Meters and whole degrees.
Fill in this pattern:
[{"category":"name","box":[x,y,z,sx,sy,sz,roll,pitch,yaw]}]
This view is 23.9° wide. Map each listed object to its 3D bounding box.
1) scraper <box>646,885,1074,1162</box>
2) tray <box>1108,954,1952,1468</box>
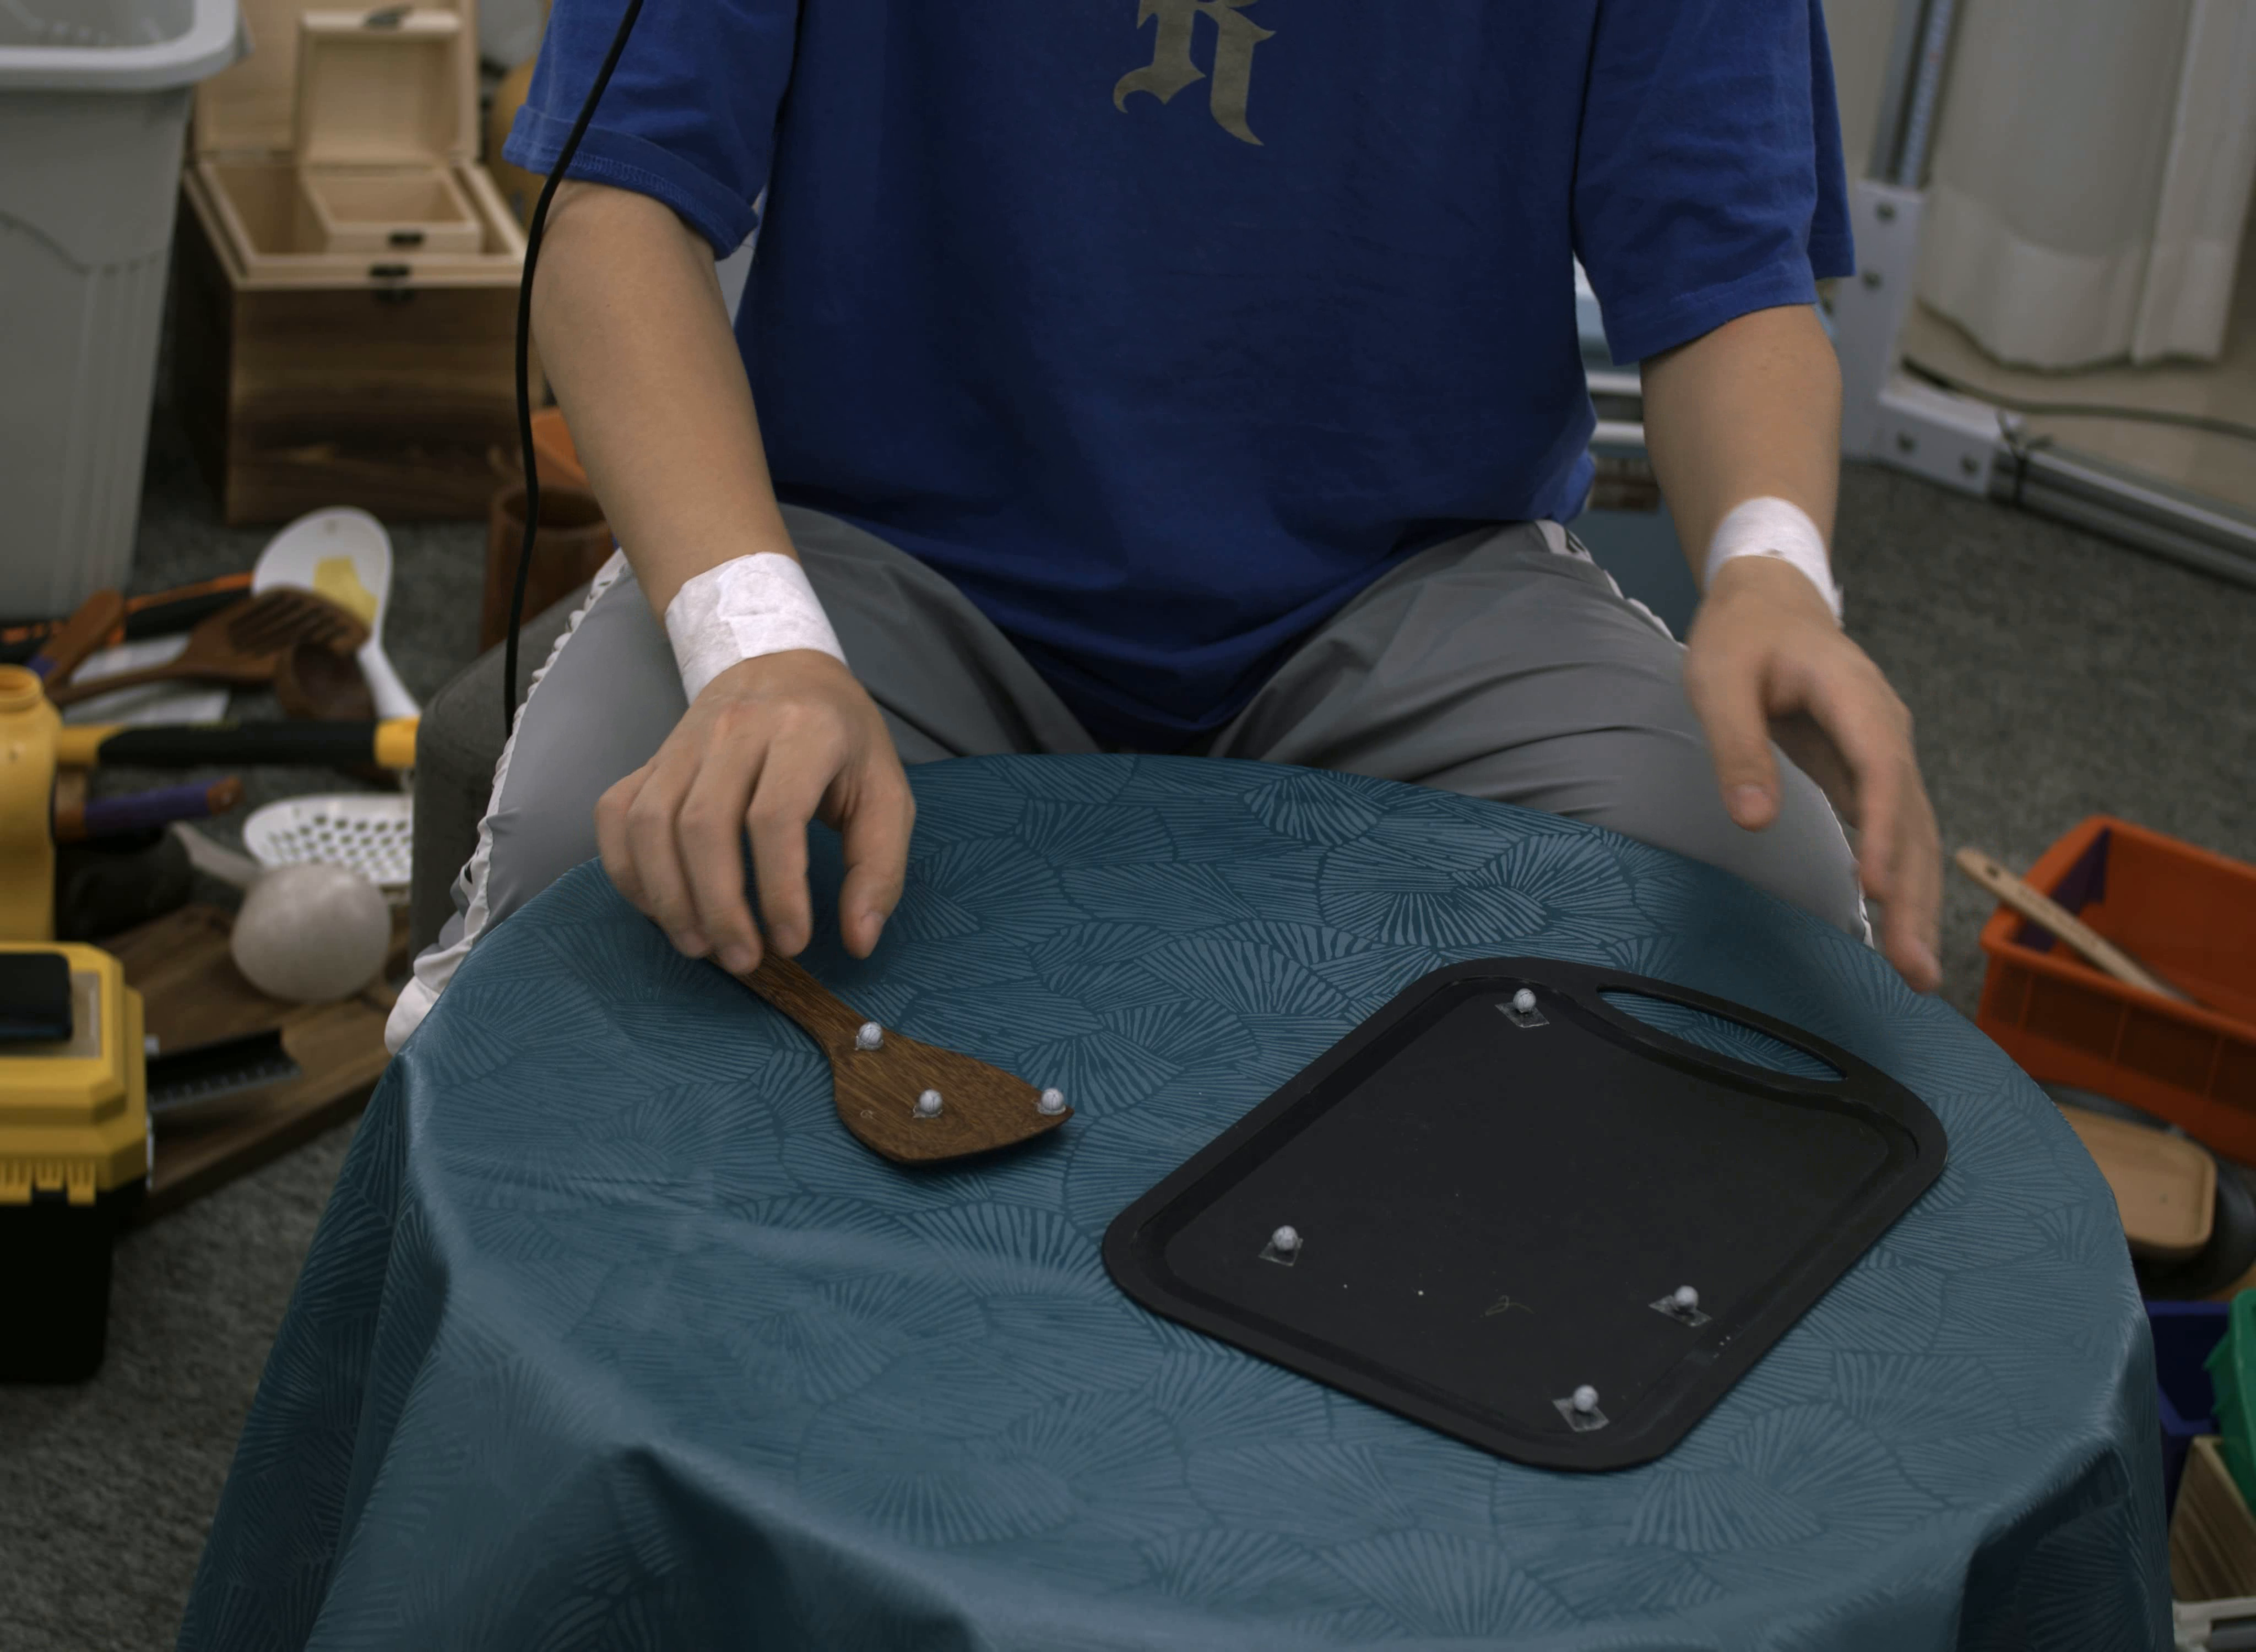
[{"category":"scraper","box":[-0.105,0.068,1.879,0.075,0.011,0.213,-13,32,-35]},{"category":"tray","box":[0.146,0.121,1.834,0.212,0.010,0.325,20,30,25]}]
